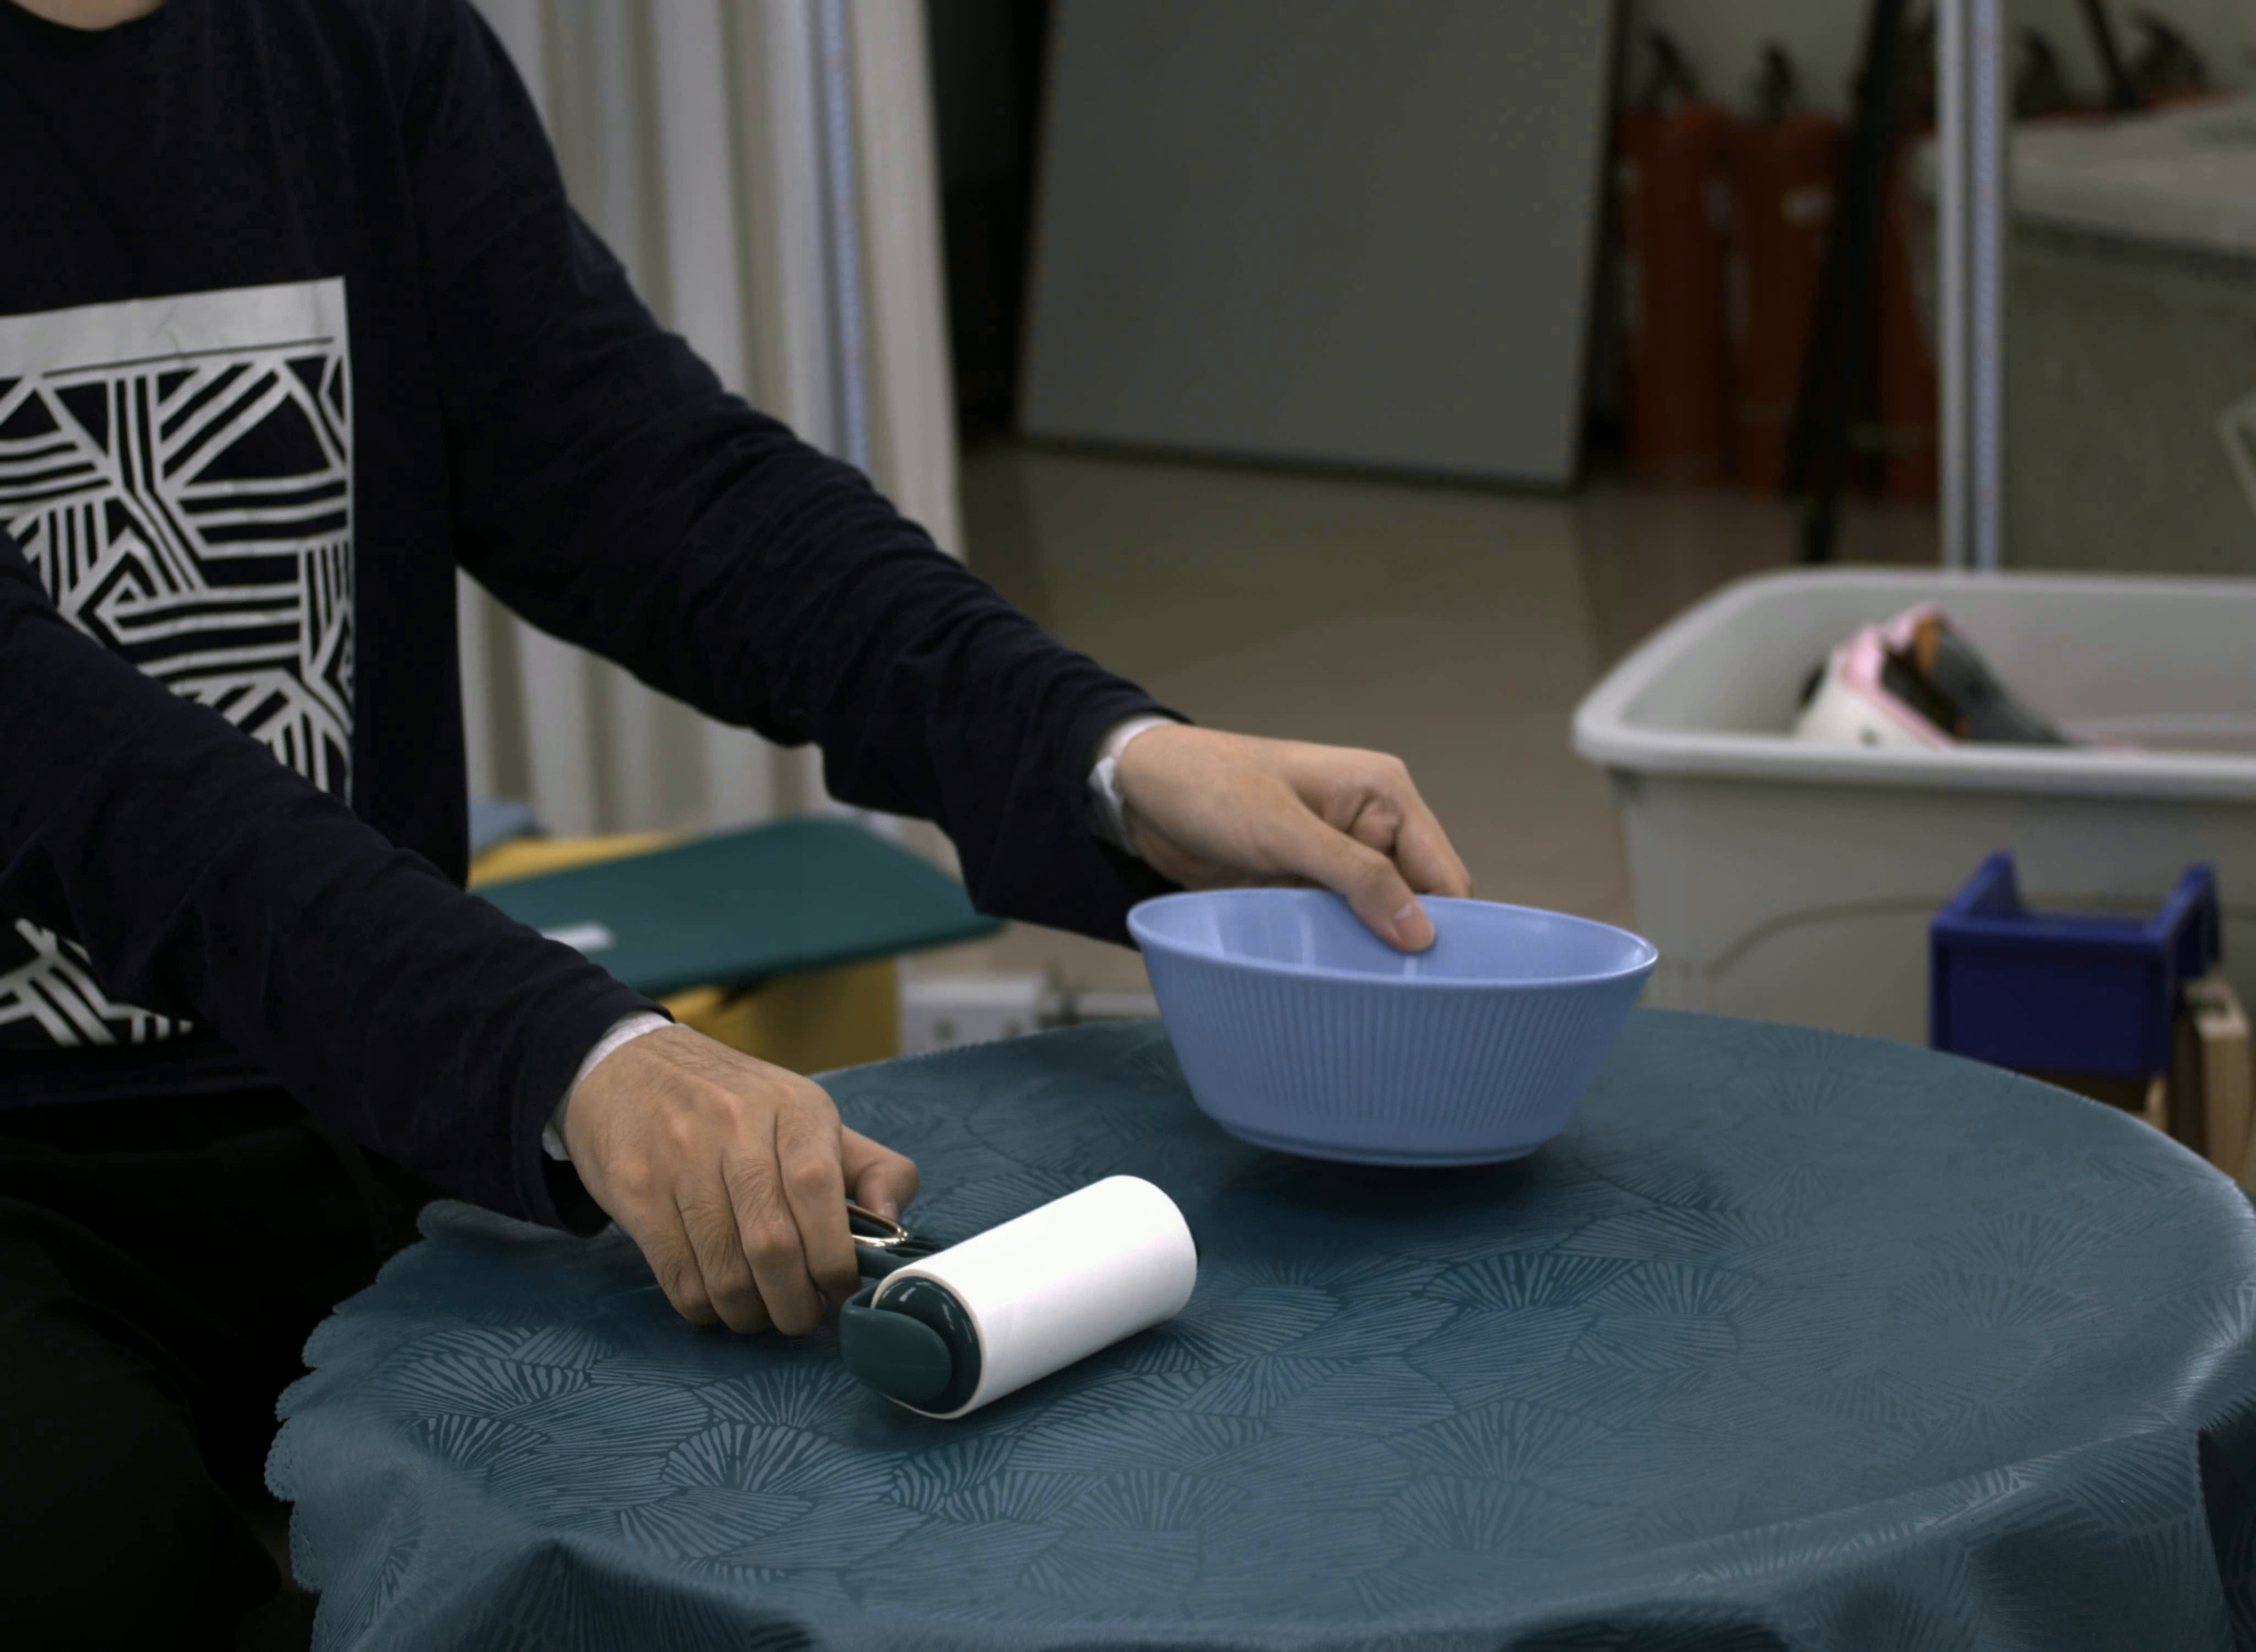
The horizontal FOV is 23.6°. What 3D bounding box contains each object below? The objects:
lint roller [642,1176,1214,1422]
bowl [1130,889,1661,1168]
[{"bbox_3d":[-0.079,0.125,1.642,0.181,0.049,0.132,16,23,37],"label":"lint roller"},{"bbox_3d":[0.086,0.067,1.762,0.173,0.071,0.176,2,8,-1],"label":"bowl"}]
